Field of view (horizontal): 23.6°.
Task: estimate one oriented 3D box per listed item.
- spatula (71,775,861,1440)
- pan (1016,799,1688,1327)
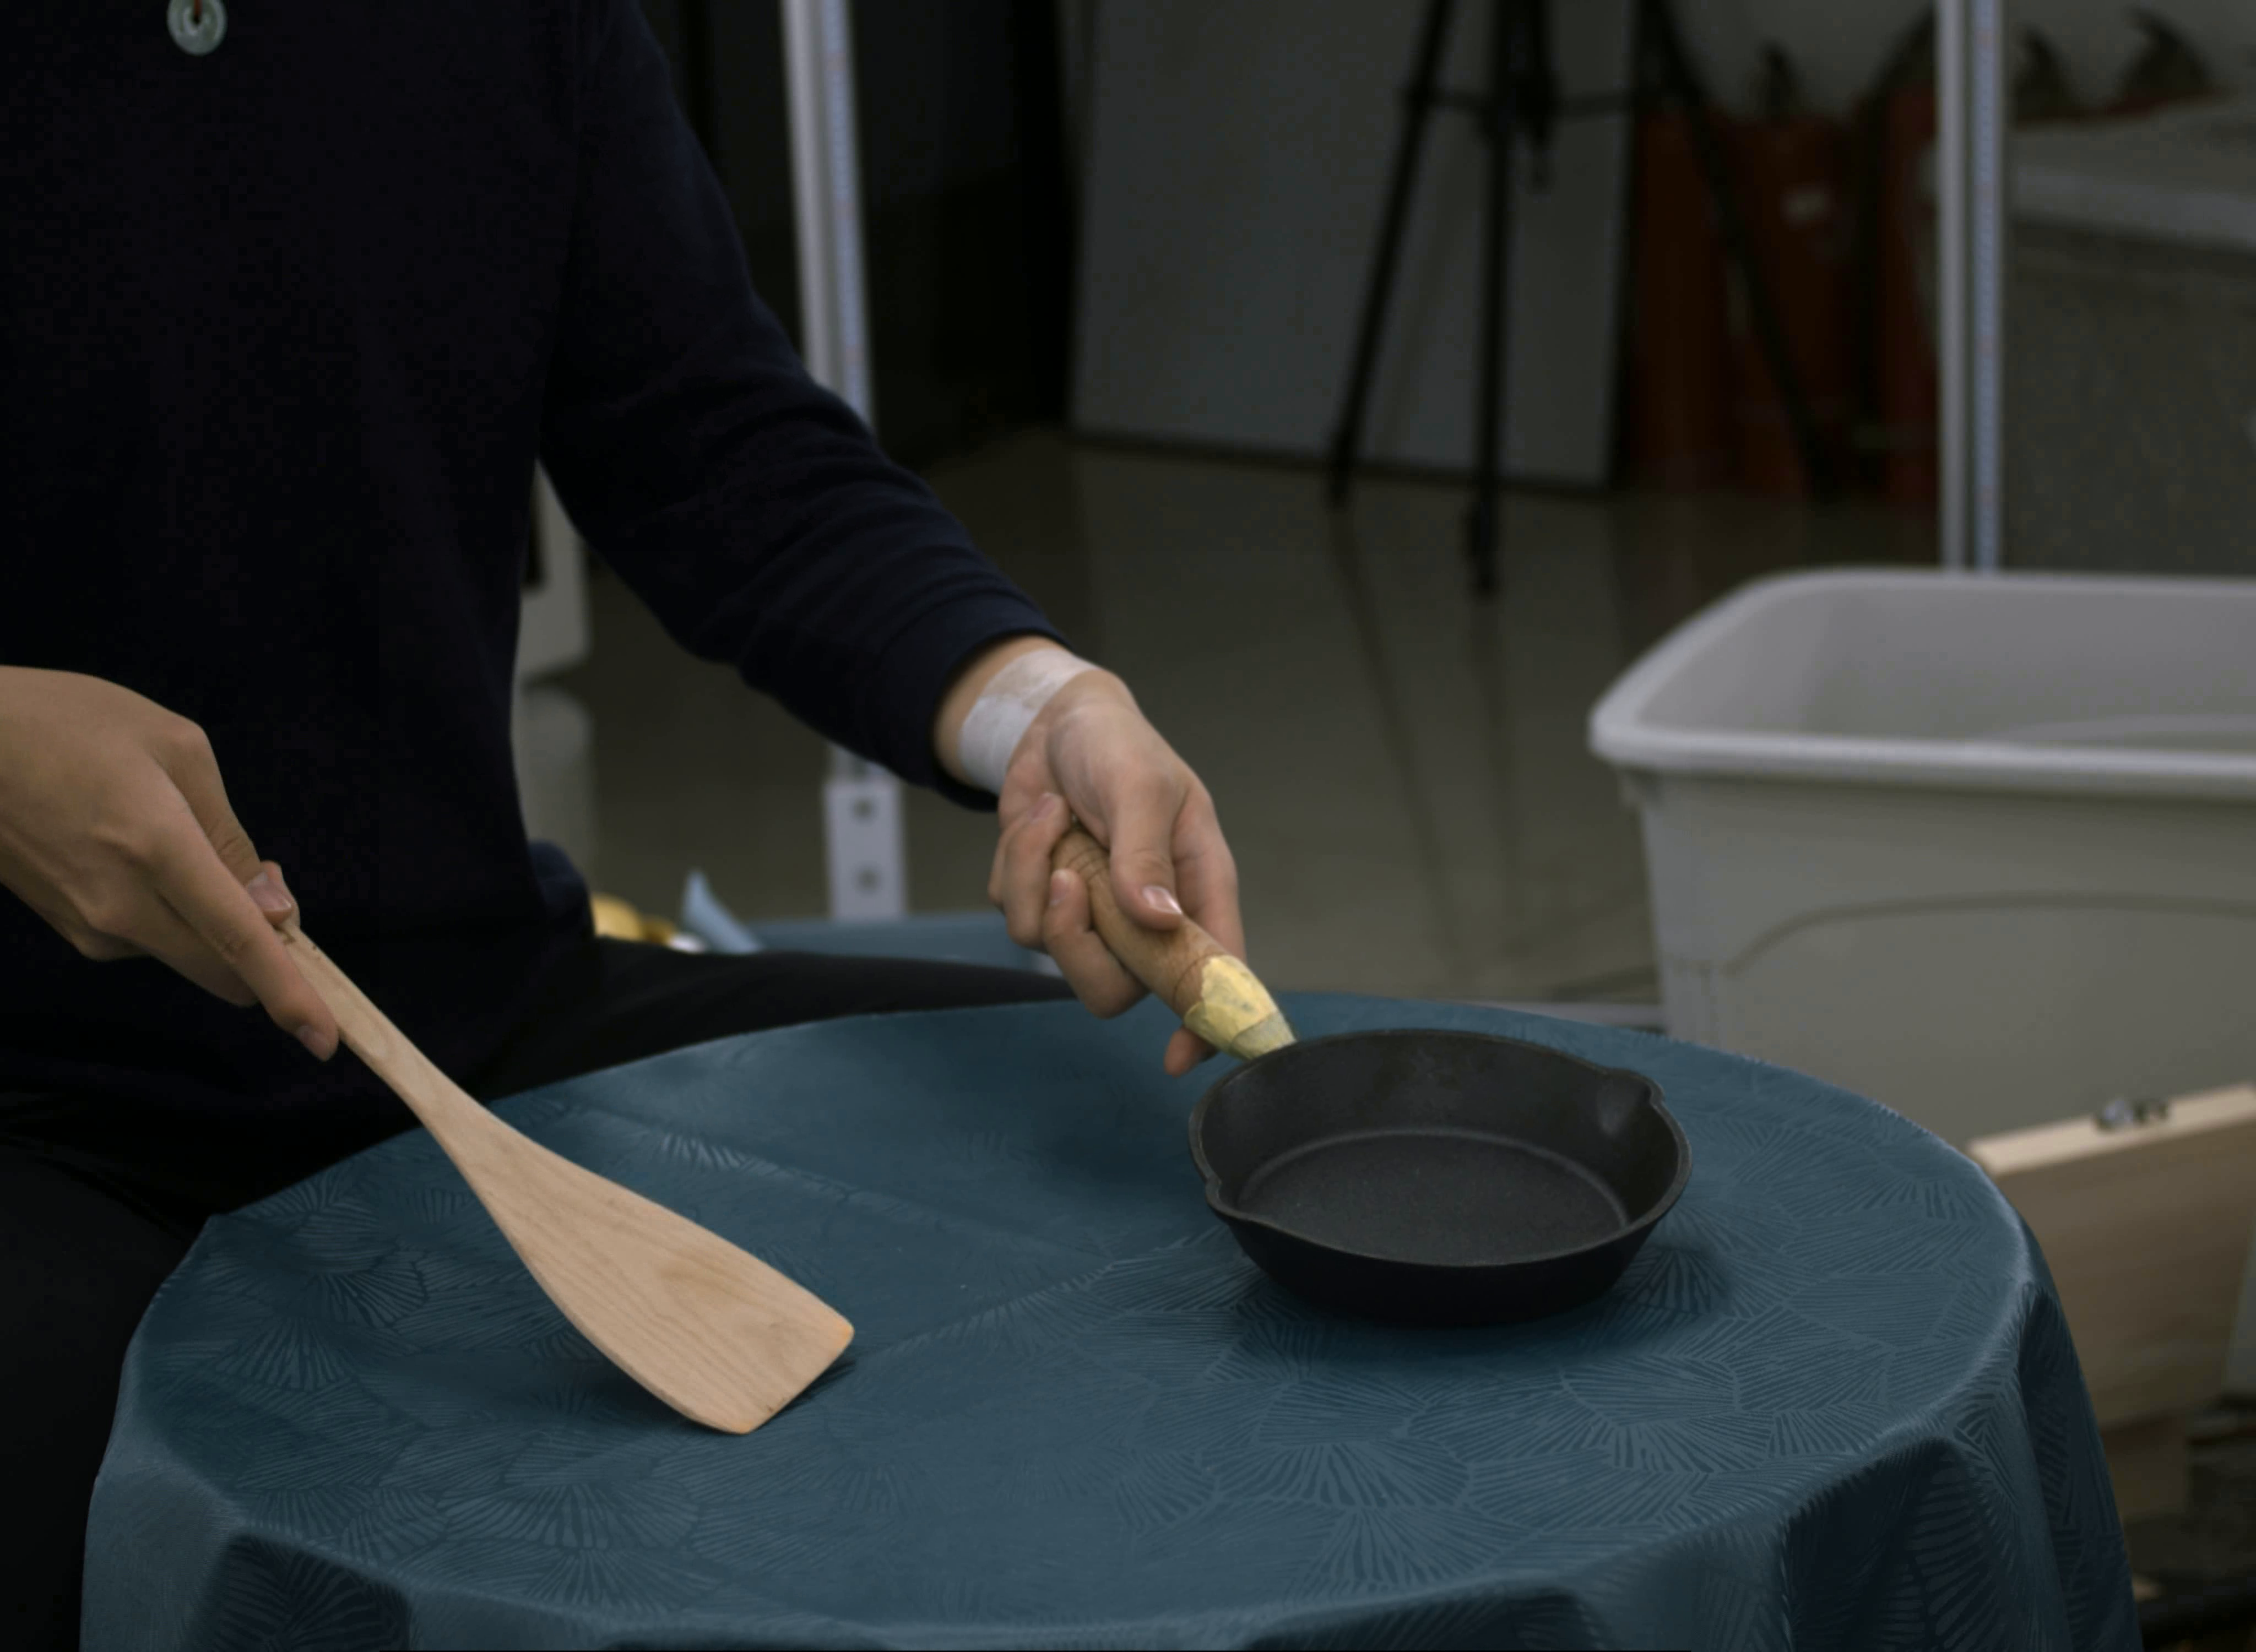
[{"bbox_3d":[-0.210,0.079,1.661,0.330,0.017,0.078,39,35,22],"label":"spatula"},{"bbox_3d":[0.053,0.072,1.733,0.165,0.050,0.328,-12,28,-28],"label":"pan"}]
